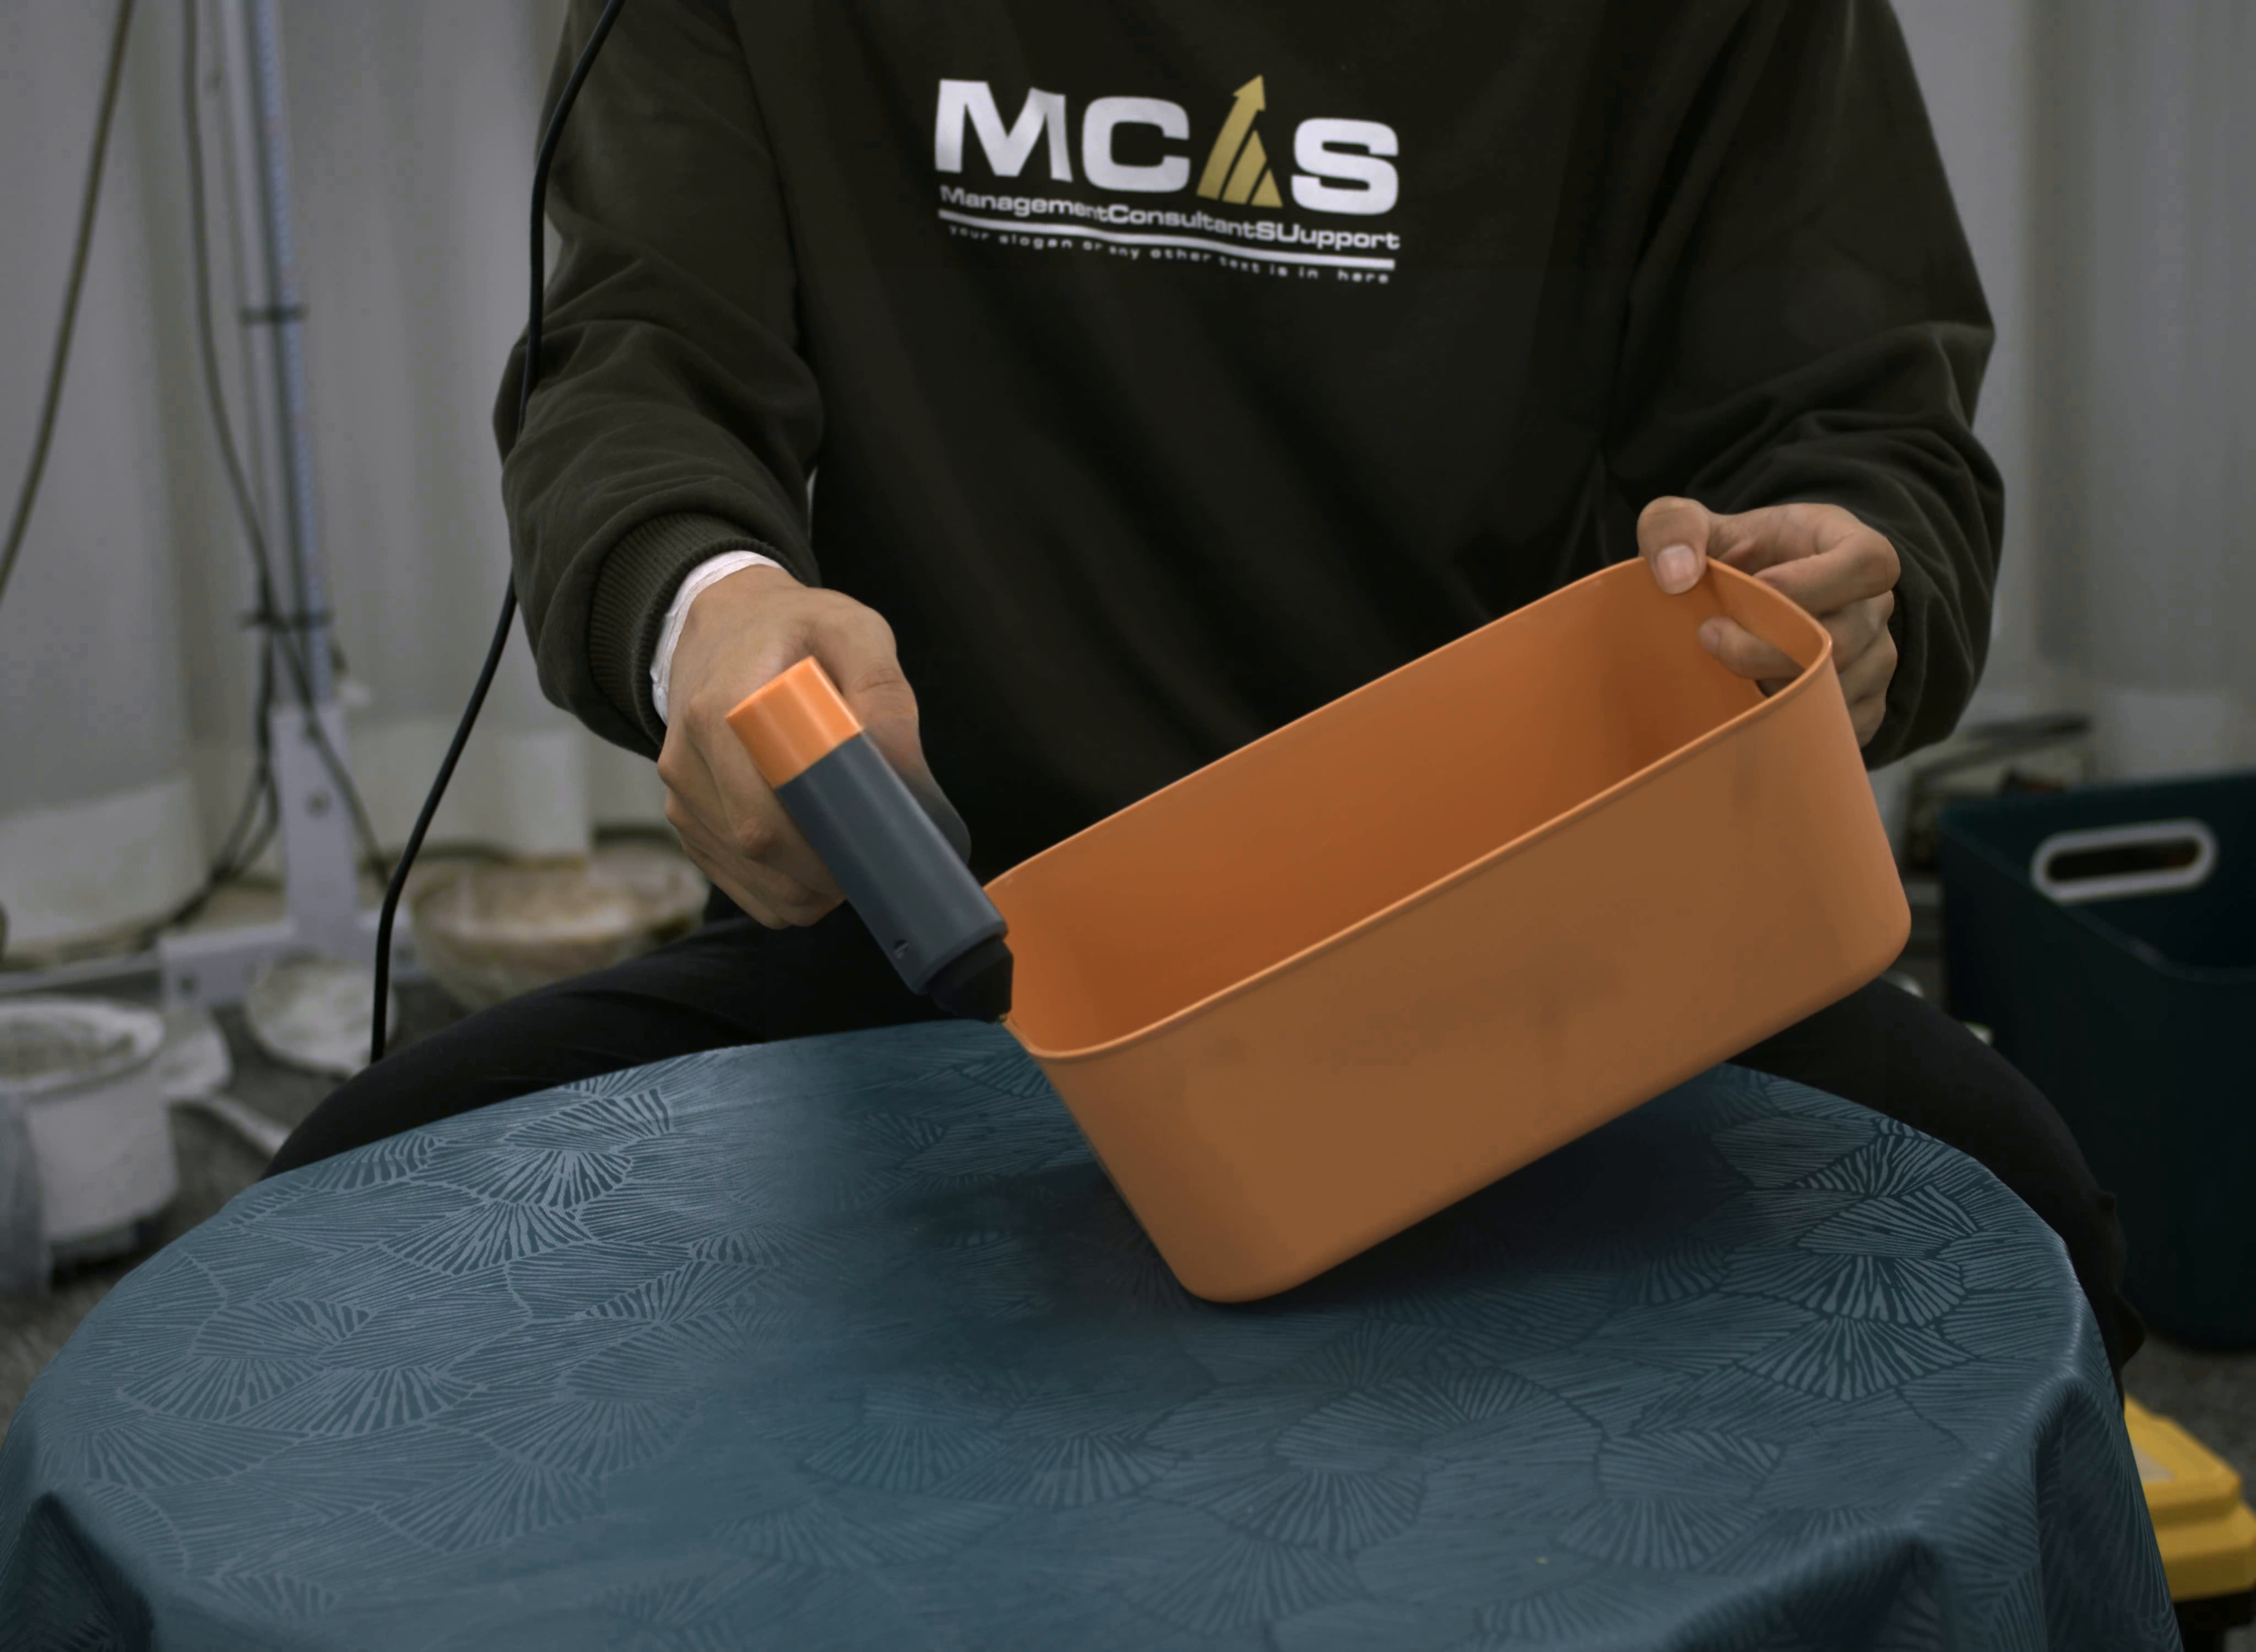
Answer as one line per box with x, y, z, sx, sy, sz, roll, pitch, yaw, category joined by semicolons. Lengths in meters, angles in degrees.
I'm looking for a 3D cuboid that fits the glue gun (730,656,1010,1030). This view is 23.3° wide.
-0.073;0.004;1.641;0.041;0.118;0.140;-34;6;1;glue gun

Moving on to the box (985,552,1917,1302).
0.097;0.031;1.671;0.273;0.102;0.201;-27;17;-6;box
